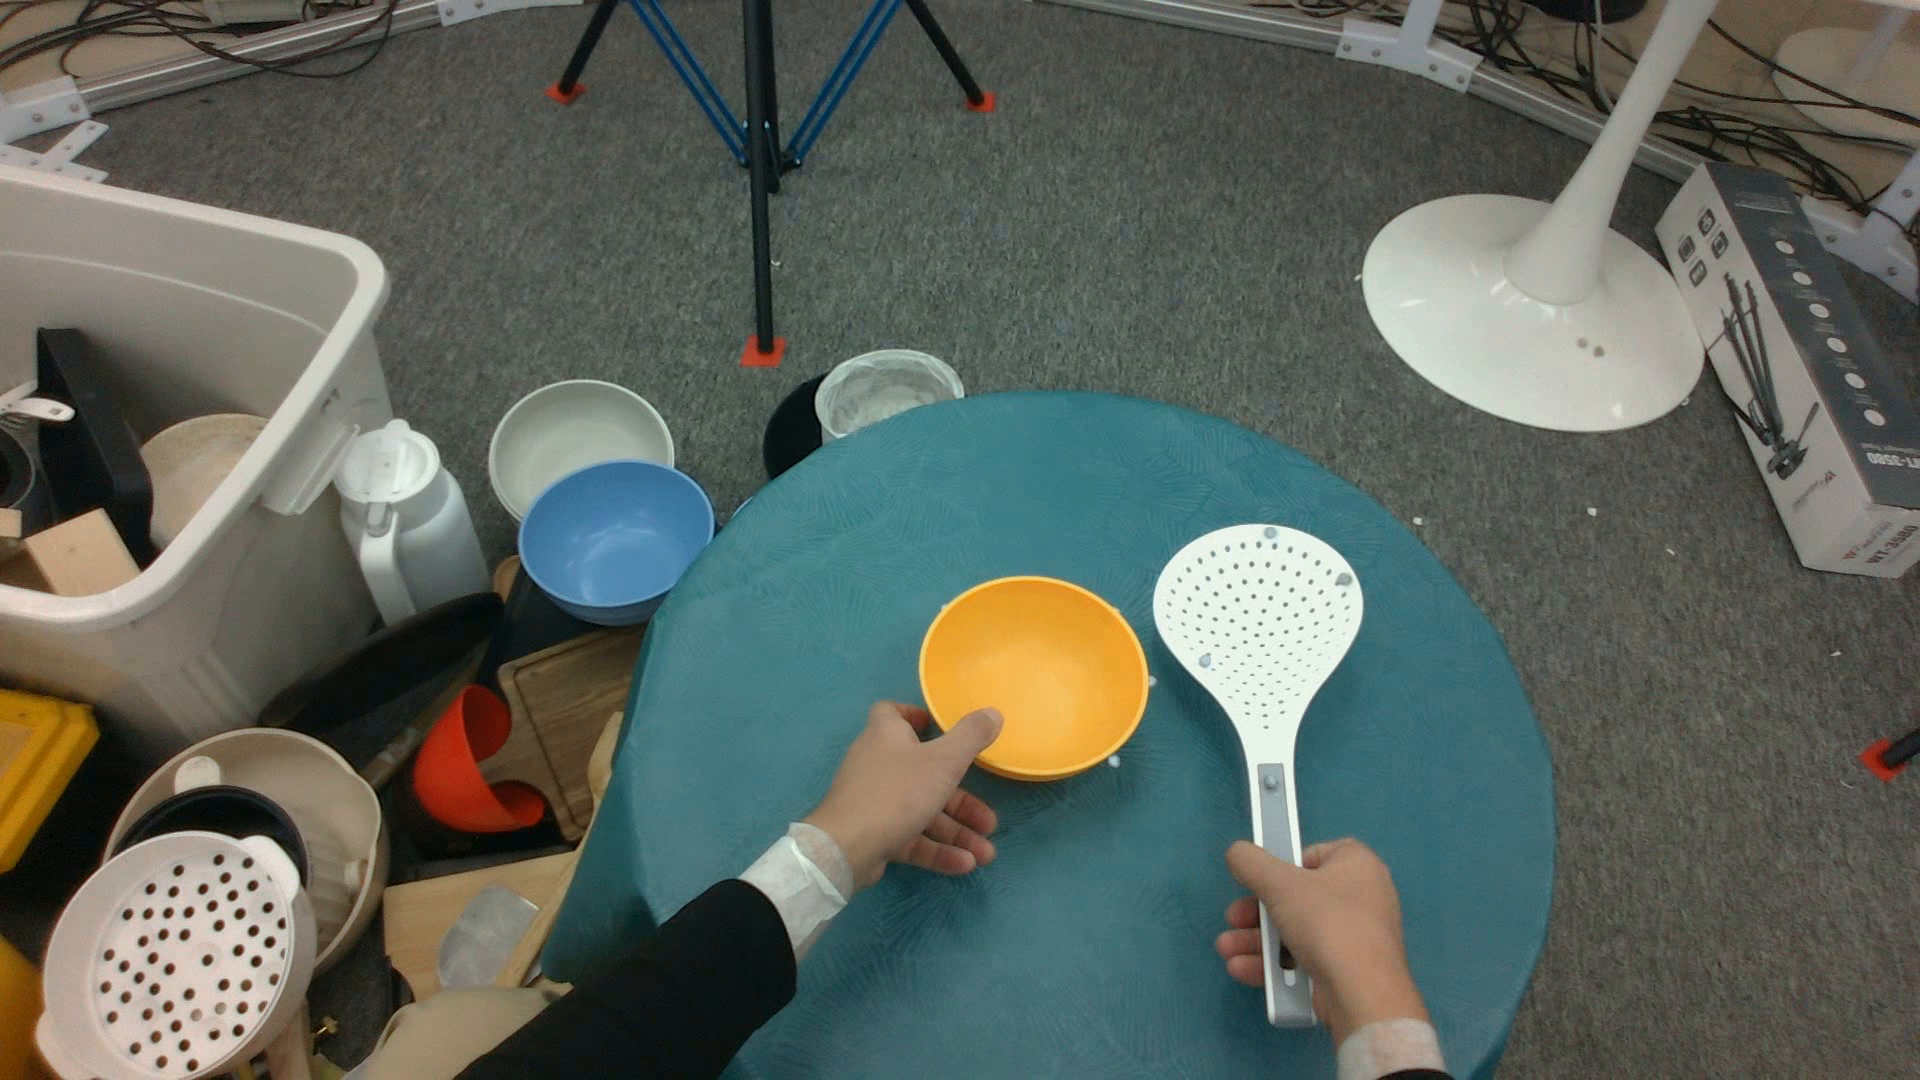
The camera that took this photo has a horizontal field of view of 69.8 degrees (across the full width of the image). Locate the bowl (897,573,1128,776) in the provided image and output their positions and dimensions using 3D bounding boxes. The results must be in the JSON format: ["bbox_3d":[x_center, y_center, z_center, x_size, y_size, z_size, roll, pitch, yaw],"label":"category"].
[{"bbox_3d":[0.031,0.095,0.877,0.145,0.060,0.146,2,51,-3],"label":"bowl"}]

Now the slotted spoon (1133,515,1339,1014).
[{"bbox_3d":[0.179,0.122,0.857,0.136,0.045,0.351,-3,44,8],"label":"slotted spoon"}]
